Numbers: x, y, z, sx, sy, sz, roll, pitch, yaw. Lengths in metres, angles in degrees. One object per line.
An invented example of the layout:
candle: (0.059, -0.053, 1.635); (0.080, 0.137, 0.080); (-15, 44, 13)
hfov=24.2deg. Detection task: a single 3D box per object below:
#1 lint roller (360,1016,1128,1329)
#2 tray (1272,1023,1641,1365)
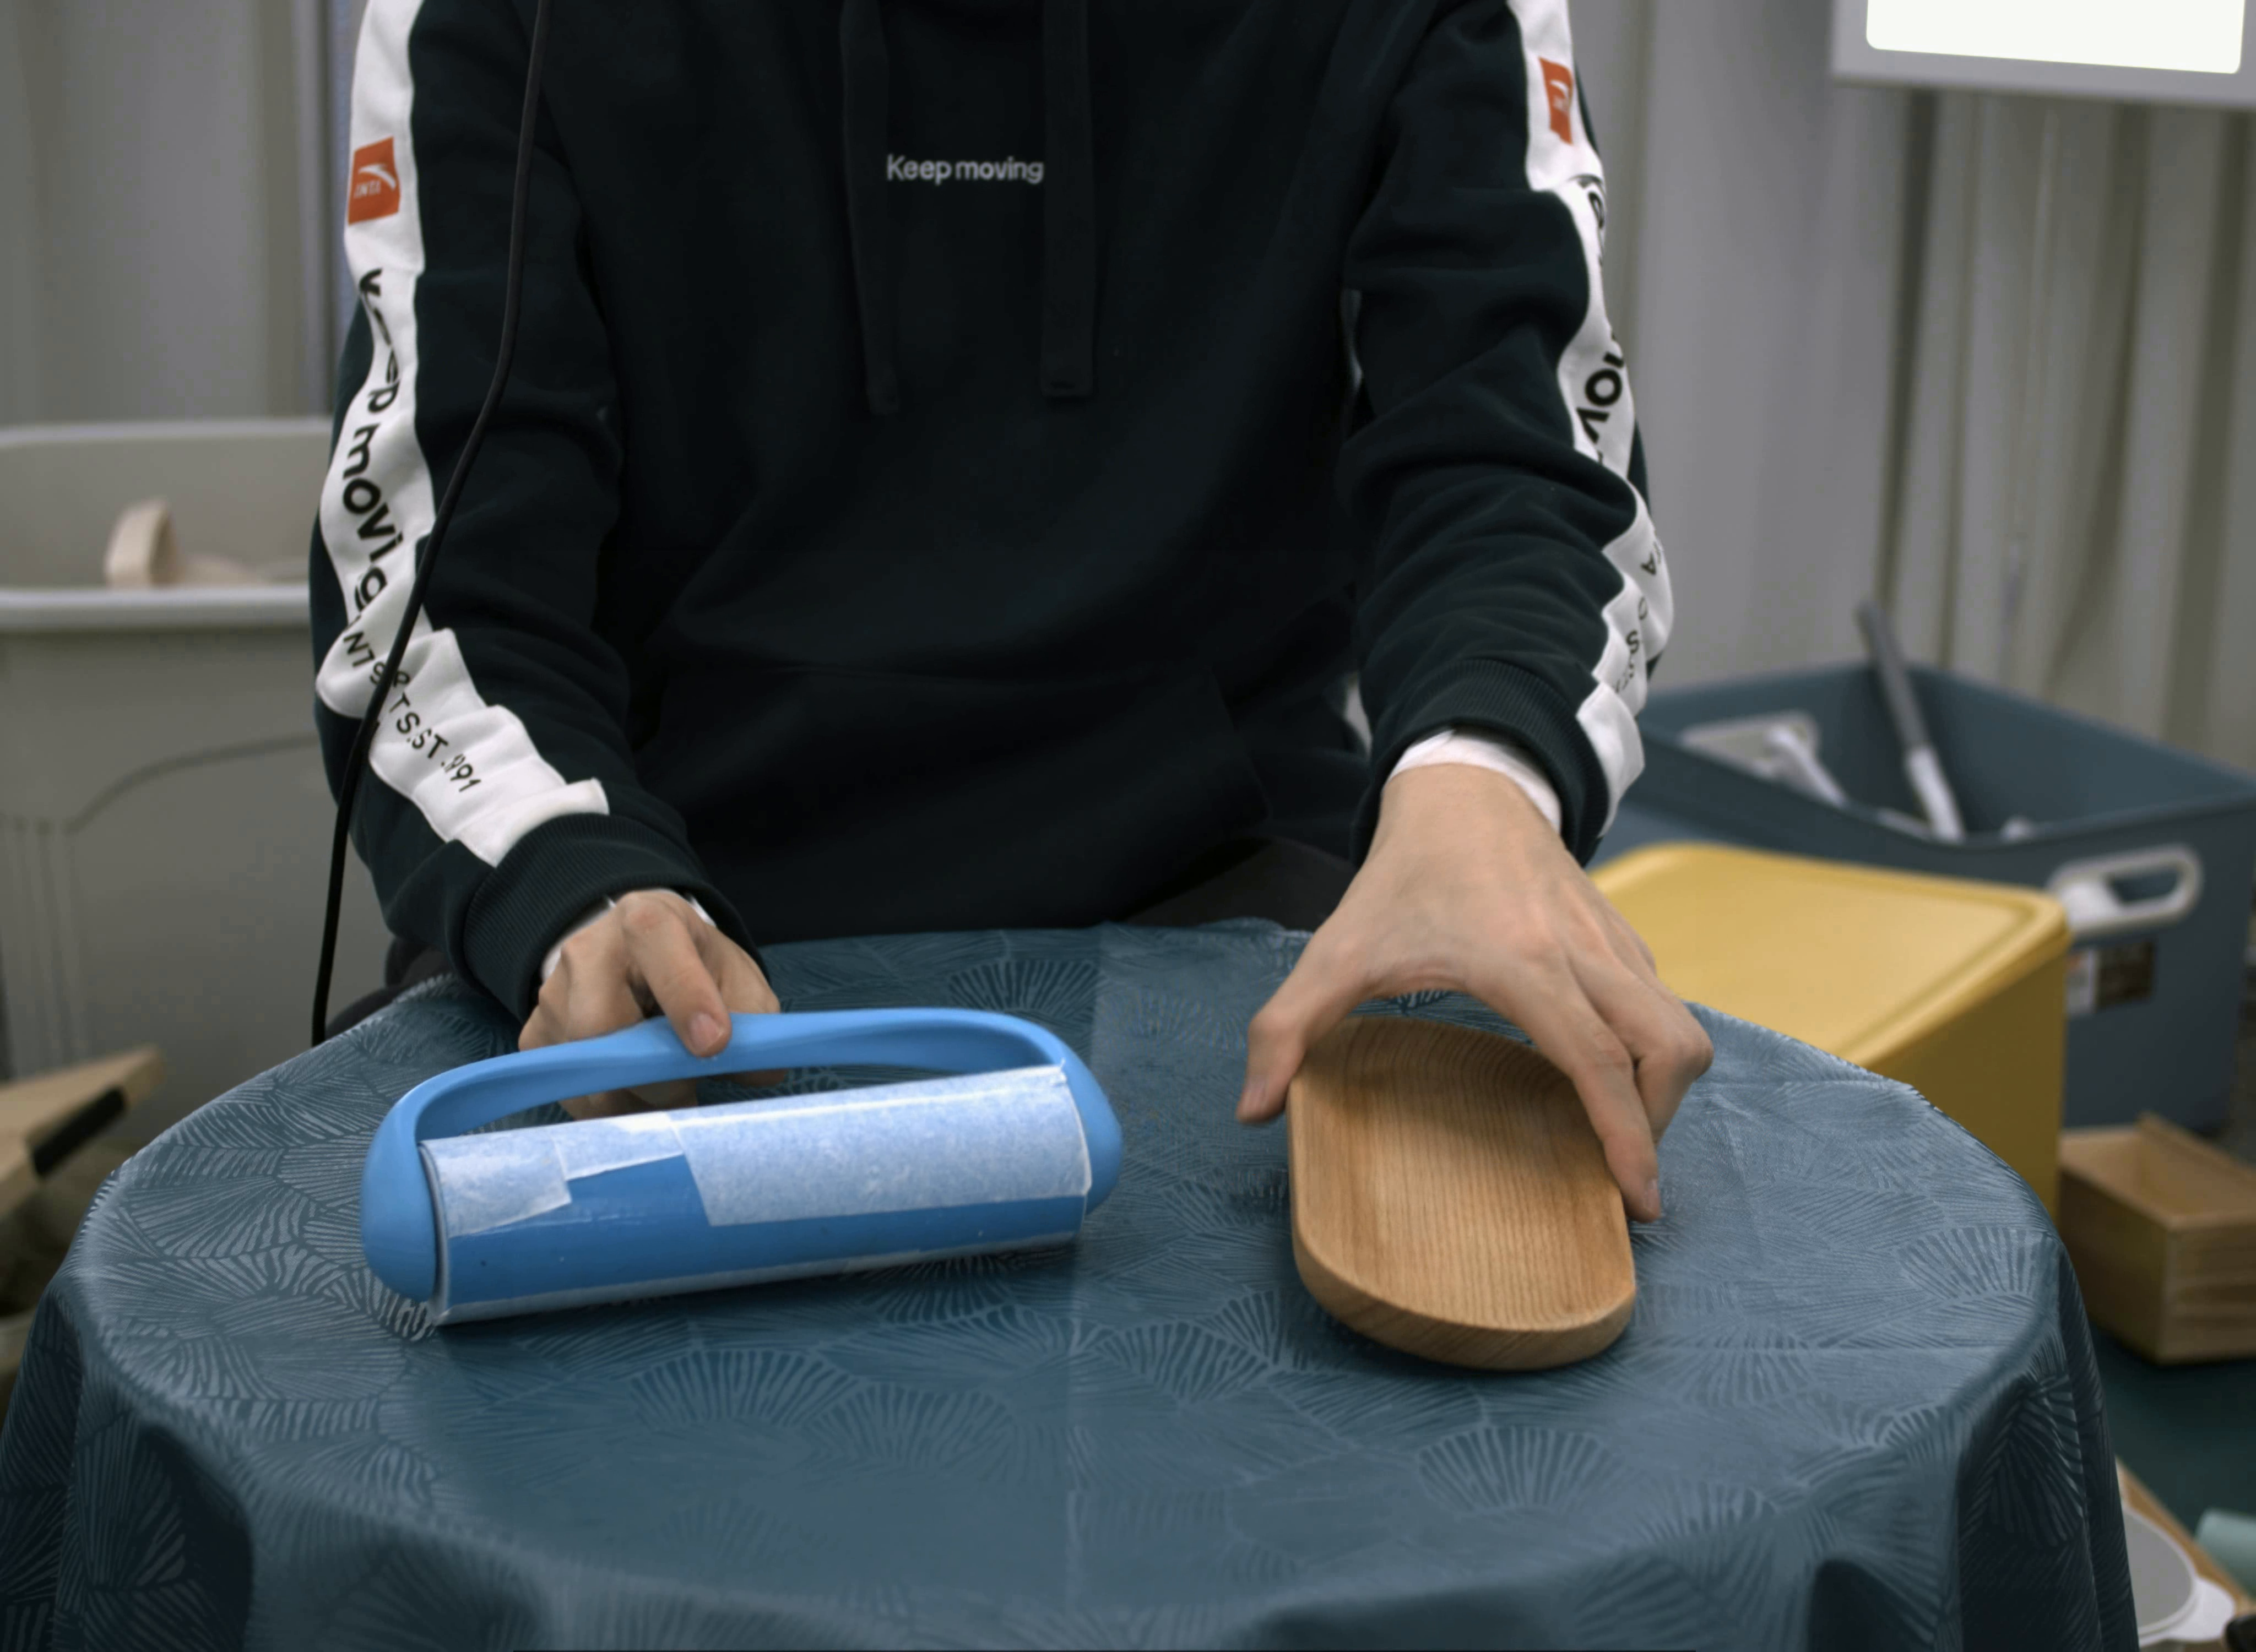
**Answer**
lint roller: (-0.131, 0.090, 1.581); (0.229, 0.068, 0.178); (-8, 19, -21)
tray: (0.095, 0.107, 1.575); (0.101, 0.020, 0.229); (9, 17, -4)
